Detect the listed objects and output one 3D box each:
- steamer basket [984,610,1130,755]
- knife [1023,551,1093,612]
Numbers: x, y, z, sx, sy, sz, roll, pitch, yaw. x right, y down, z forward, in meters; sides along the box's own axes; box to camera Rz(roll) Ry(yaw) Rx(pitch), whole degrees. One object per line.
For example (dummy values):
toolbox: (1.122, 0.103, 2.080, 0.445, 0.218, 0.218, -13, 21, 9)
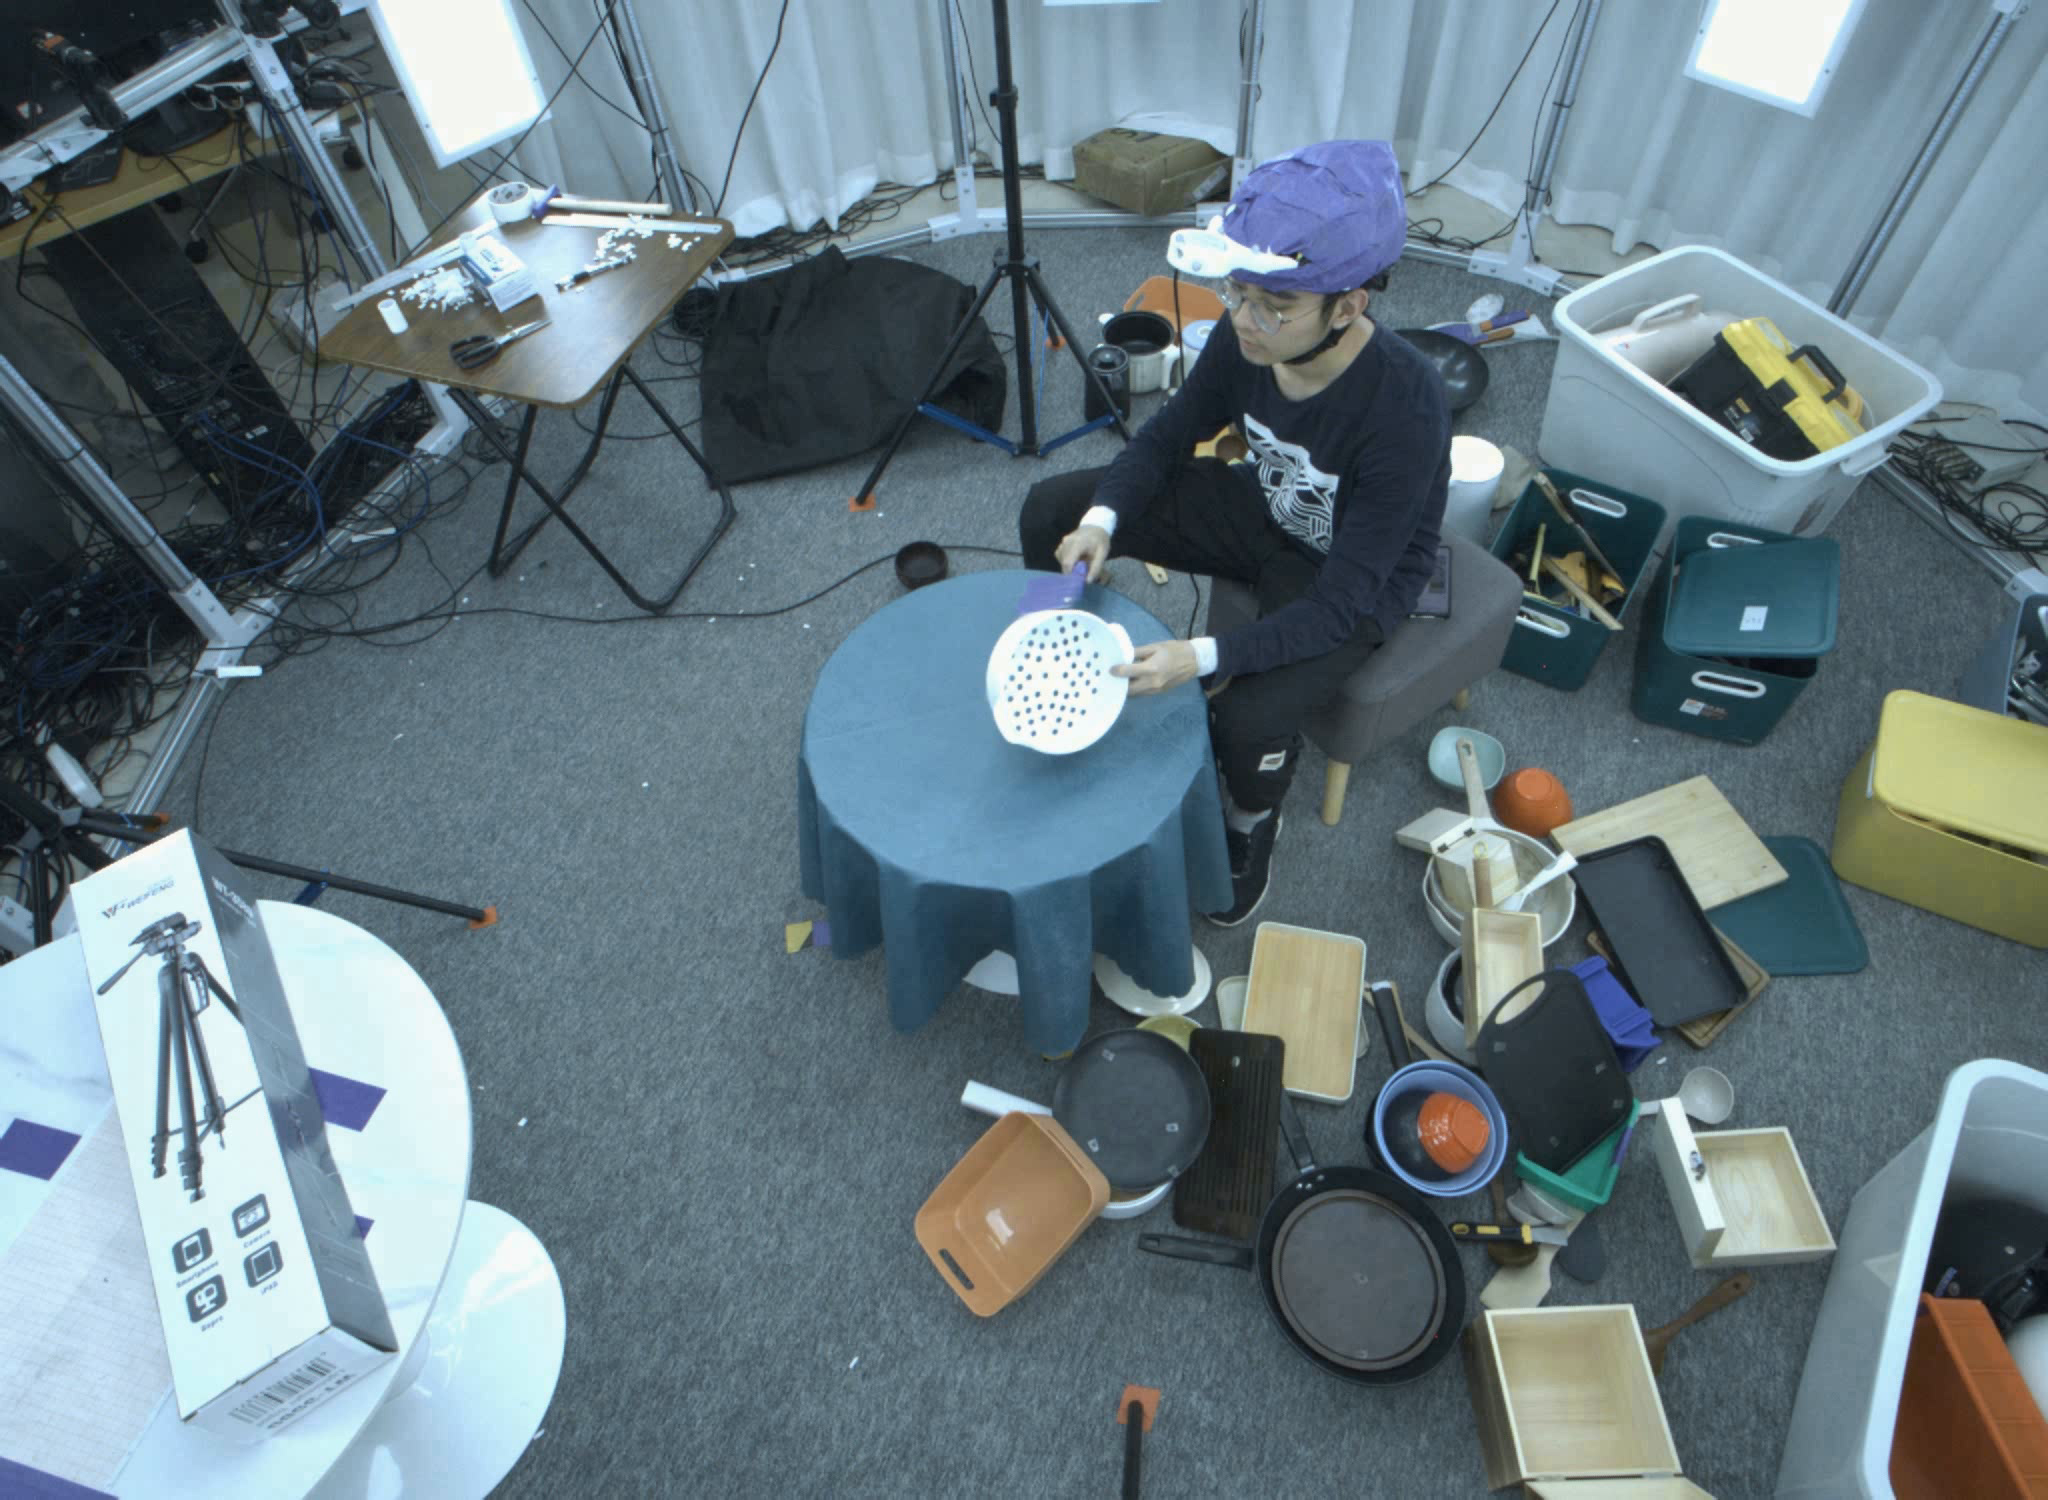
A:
steamer basket: (0.040, -0.097, 1.715, 0.232, 0.205, 0.068, -36, 28, -18)
knife: (0.052, -0.253, 1.826, 0.103, 0.032, 0.314, -7, 18, 6)
